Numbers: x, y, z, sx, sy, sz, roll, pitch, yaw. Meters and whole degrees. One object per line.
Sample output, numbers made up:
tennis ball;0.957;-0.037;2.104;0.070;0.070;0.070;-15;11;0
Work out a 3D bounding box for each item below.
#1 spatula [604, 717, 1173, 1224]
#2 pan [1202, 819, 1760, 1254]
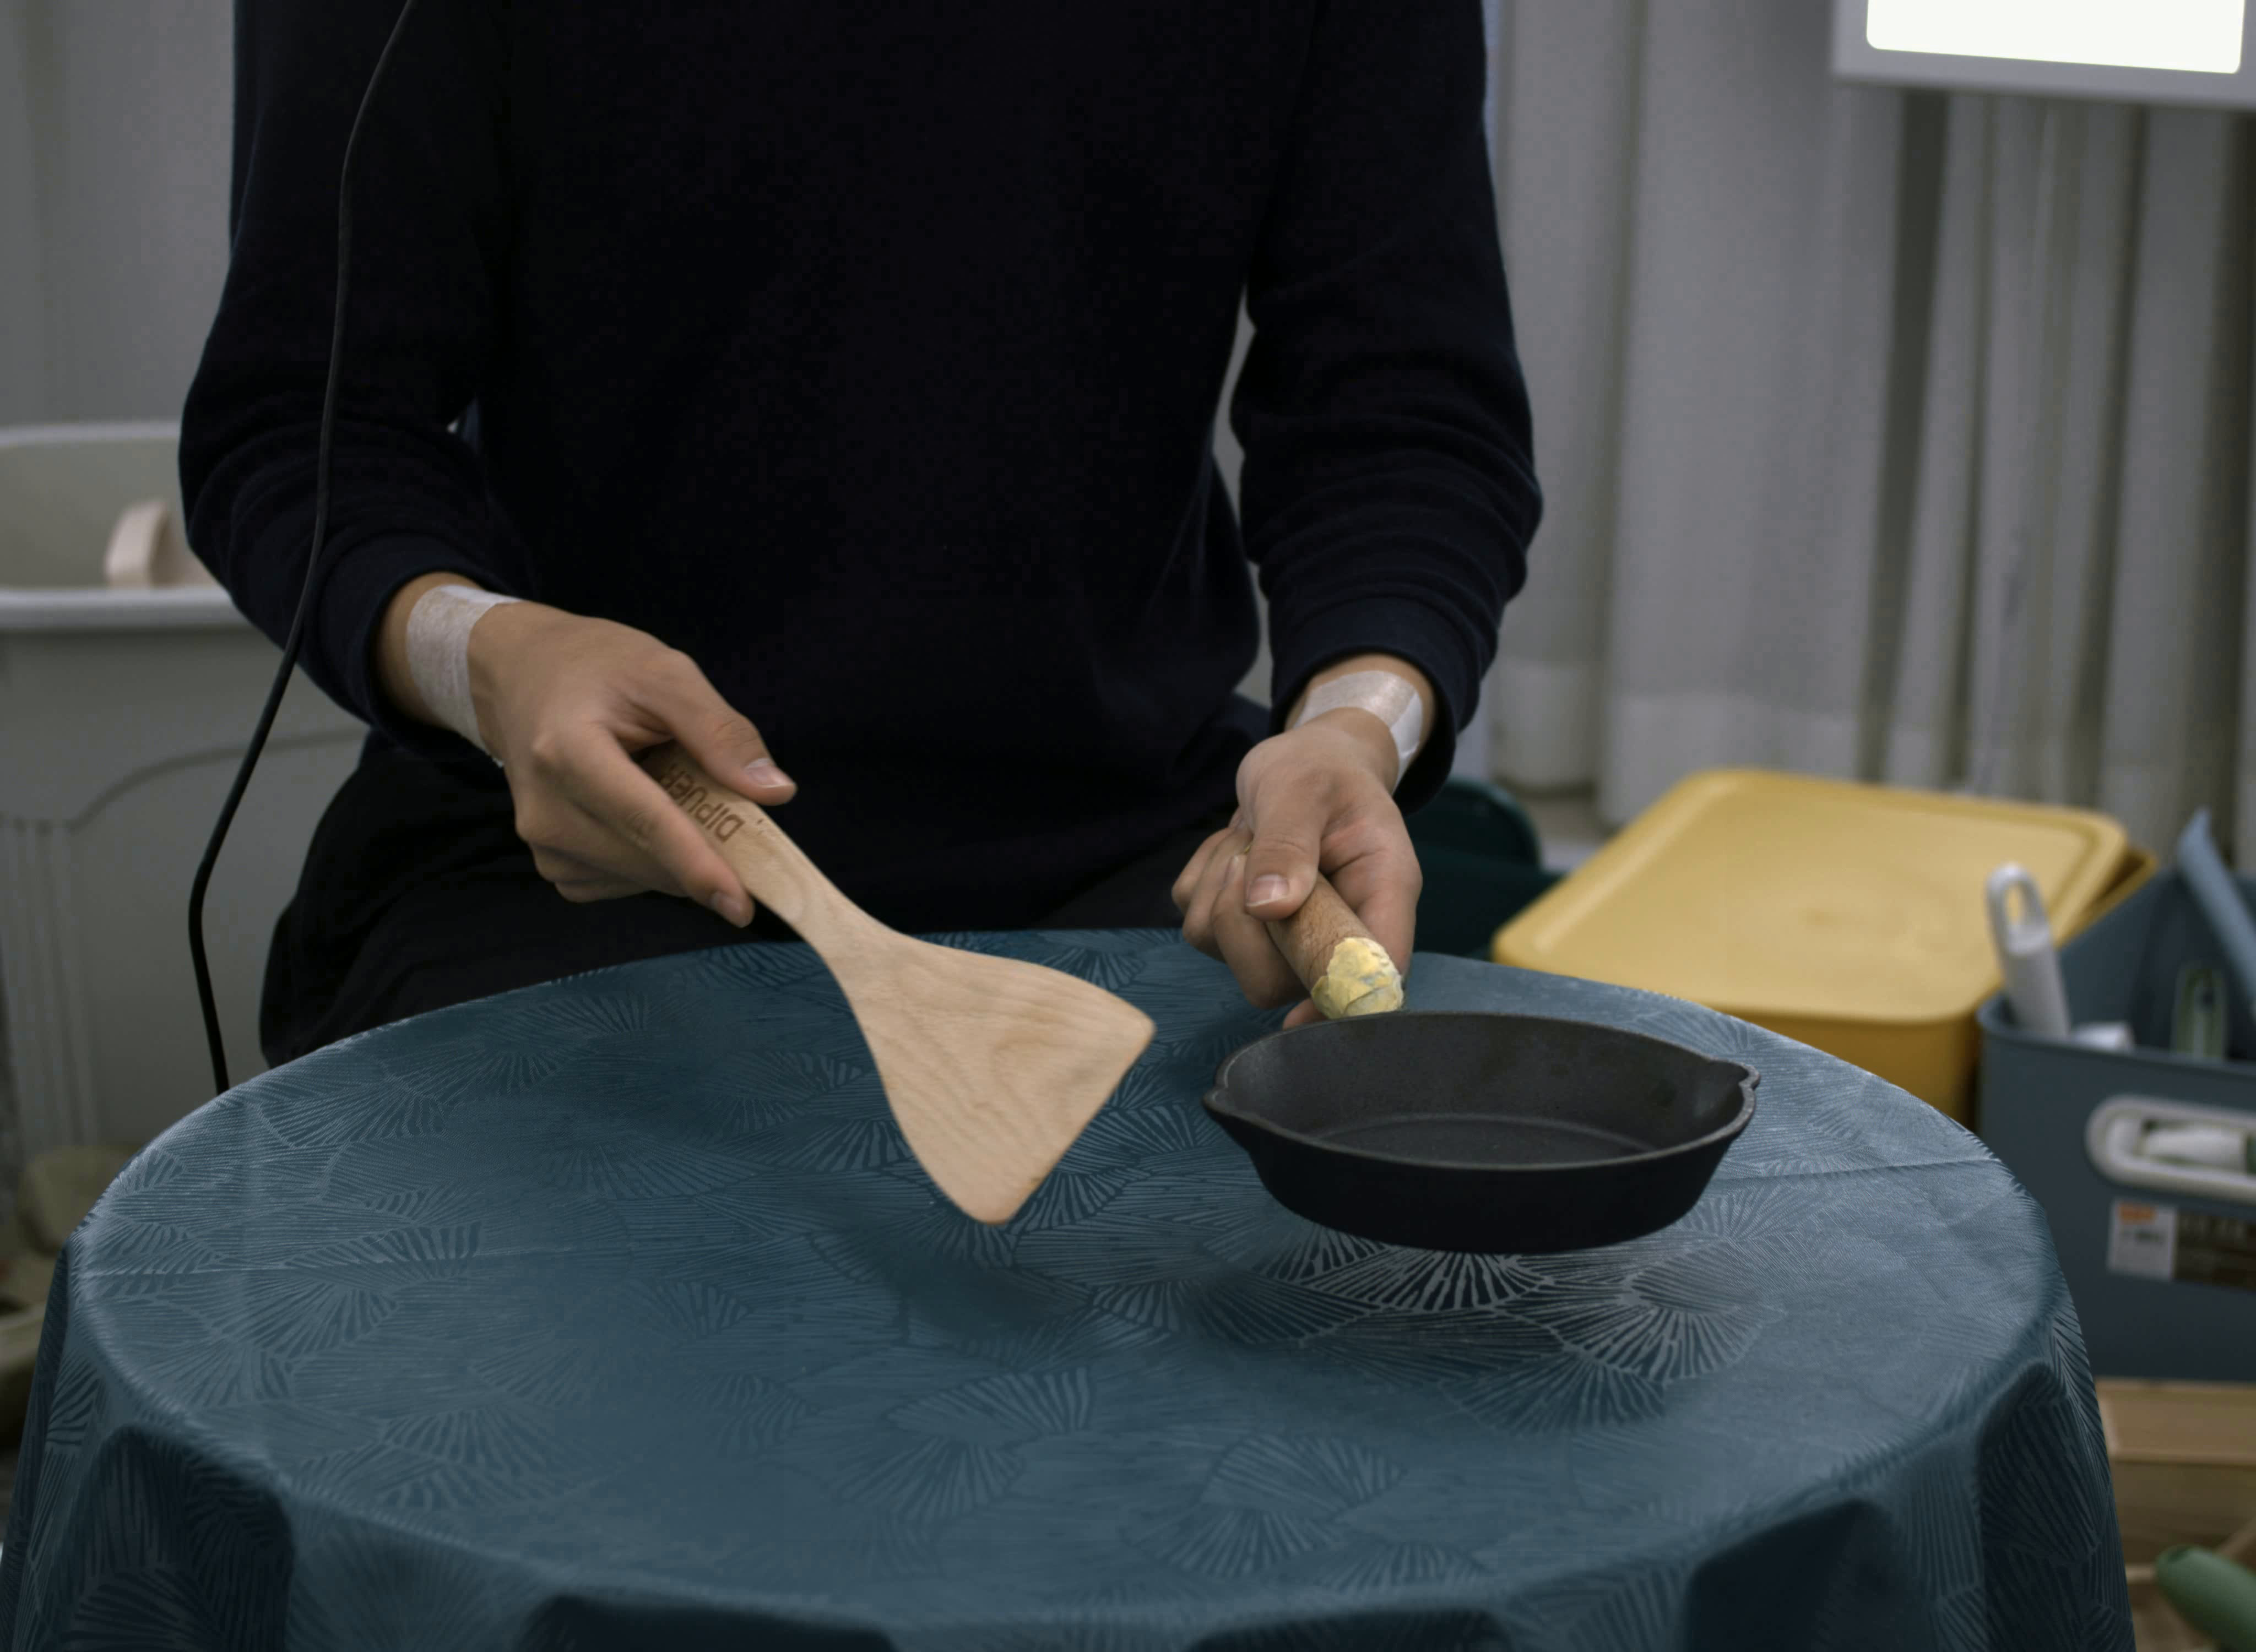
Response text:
spatula;-0.086;0.029;1.620;0.080;0.017;0.323;-44;40;-7
pan;0.084;0.061;1.608;0.169;0.050;0.321;-2;16;-14
